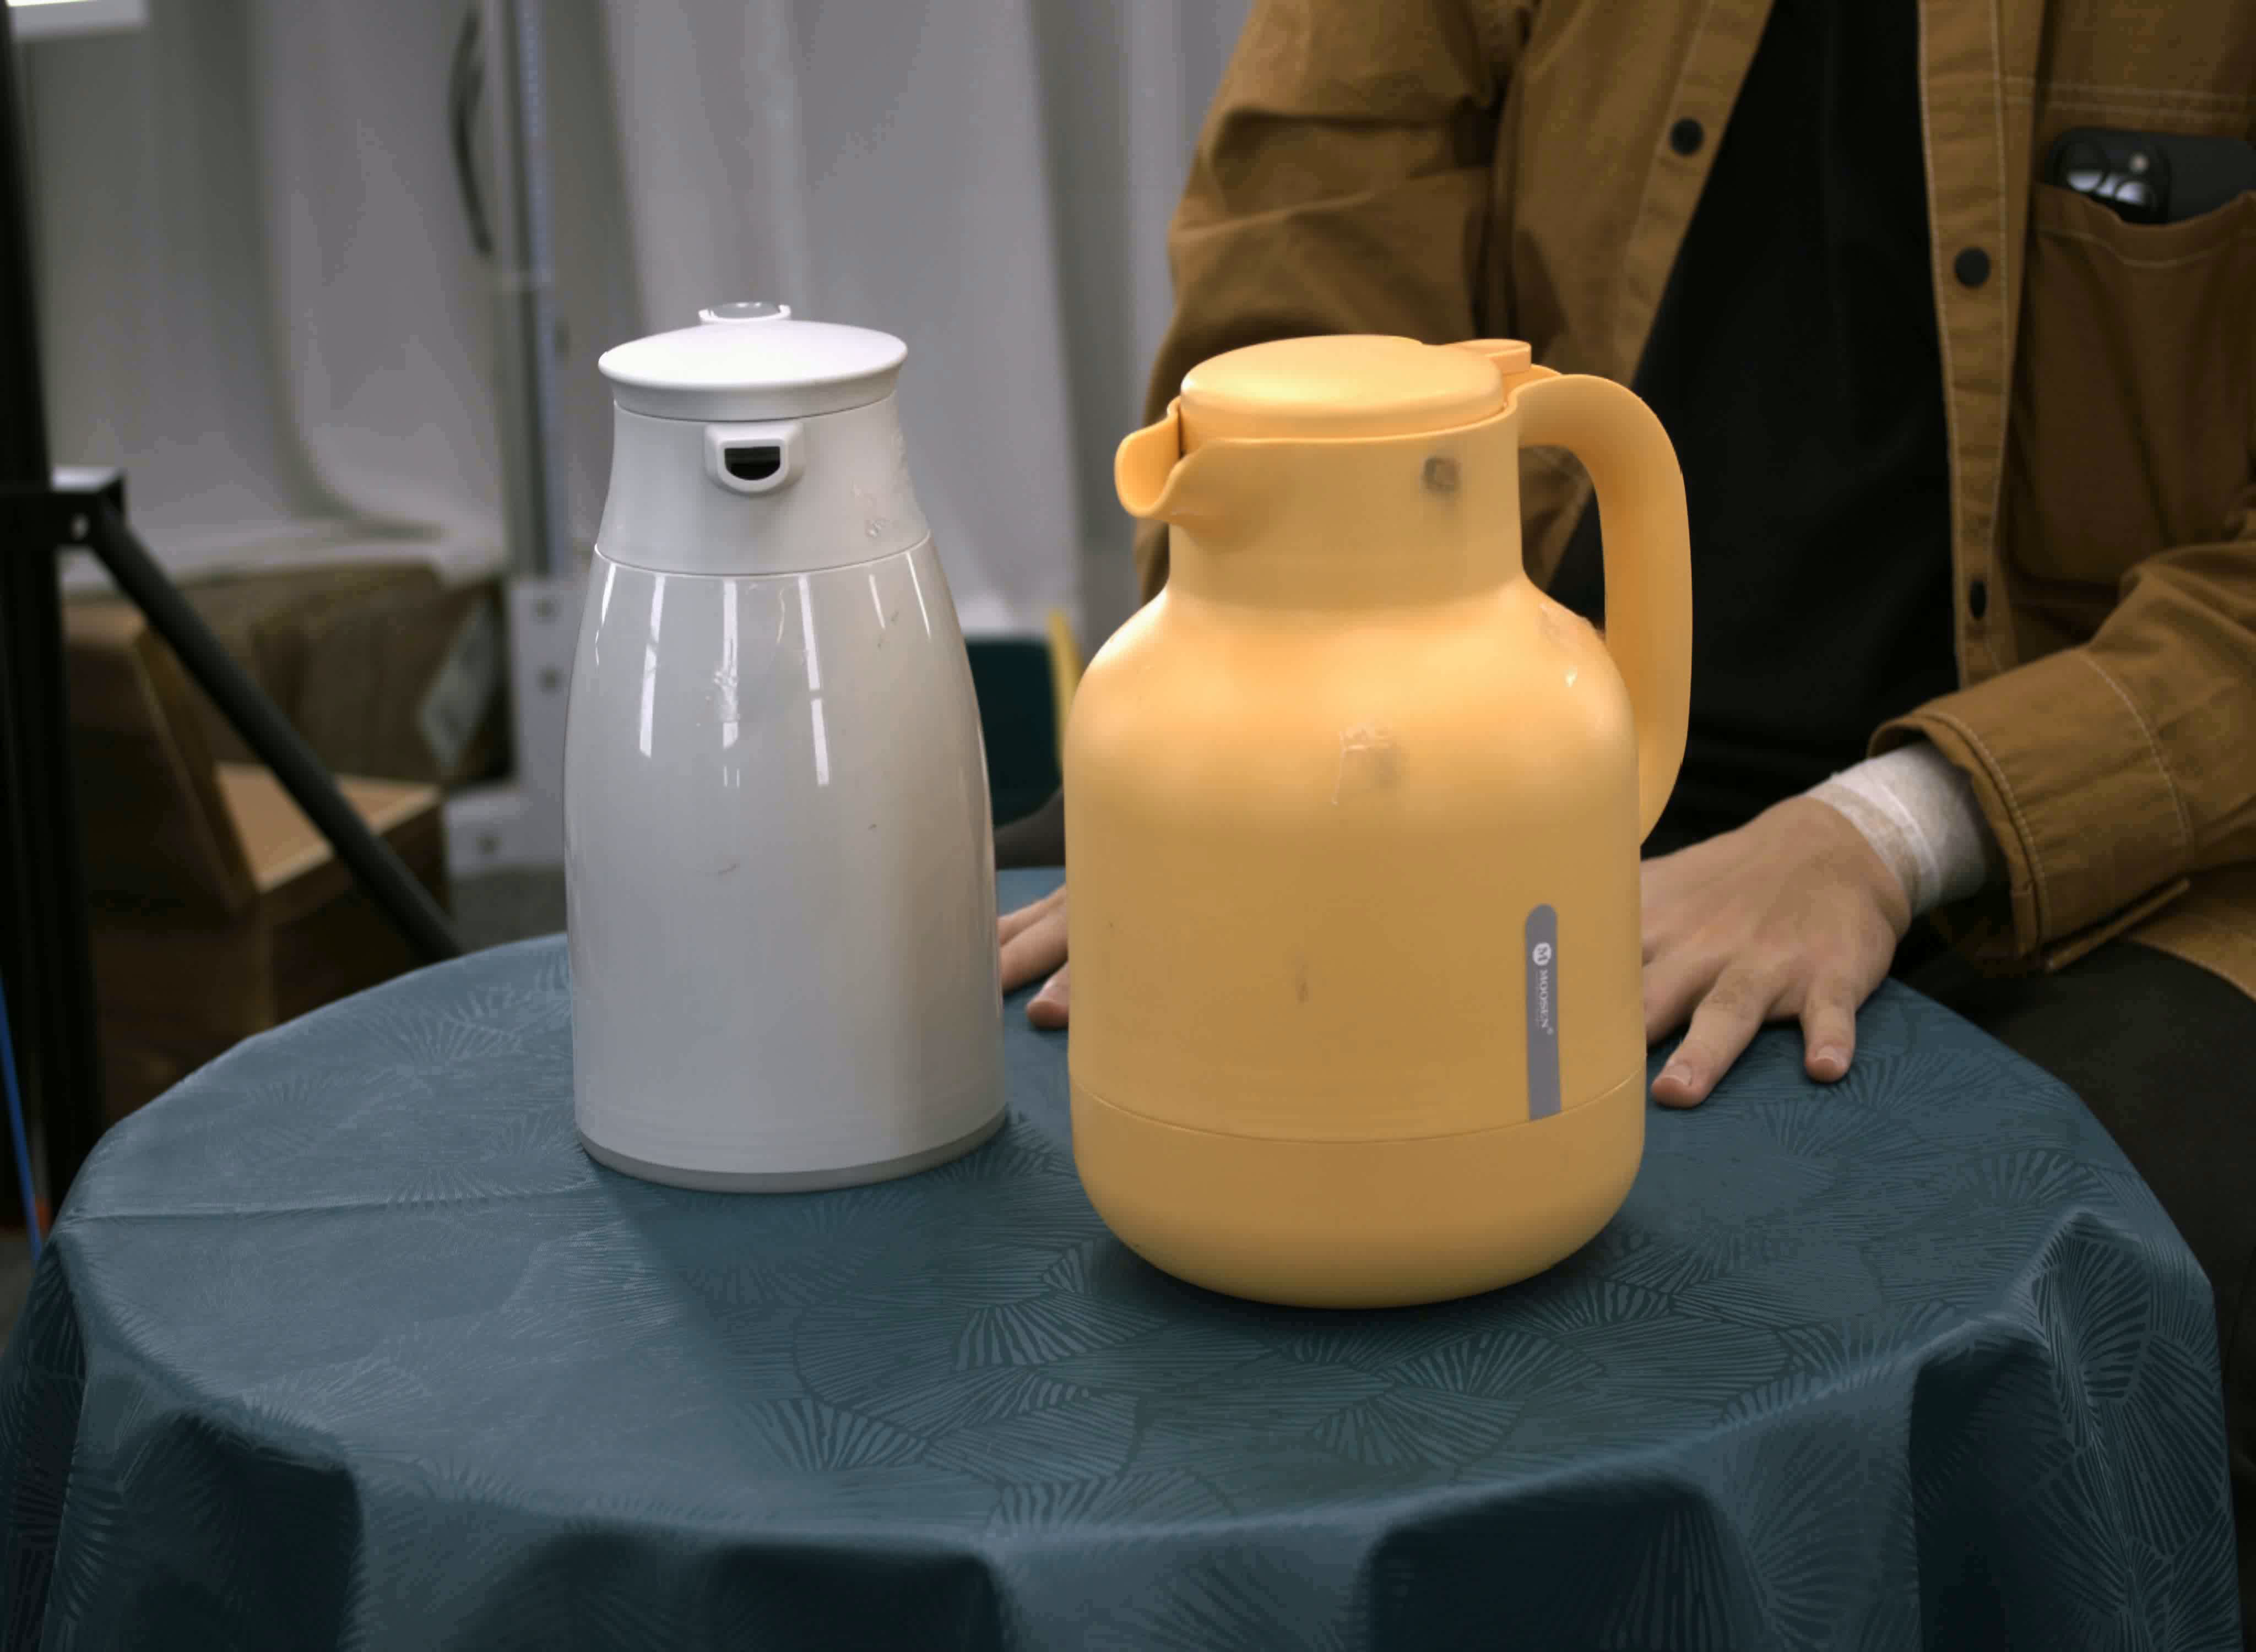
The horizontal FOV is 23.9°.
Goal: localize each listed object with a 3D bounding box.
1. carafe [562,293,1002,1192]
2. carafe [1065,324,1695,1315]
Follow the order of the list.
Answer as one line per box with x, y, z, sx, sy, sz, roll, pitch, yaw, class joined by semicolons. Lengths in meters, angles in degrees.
-0.109;-0.033;1.619;0.132;0.248;0.169;-3;15;-2;carafe
0.079;-0.009;1.480;0.198;0.260;0.167;-14;21;-33;carafe
